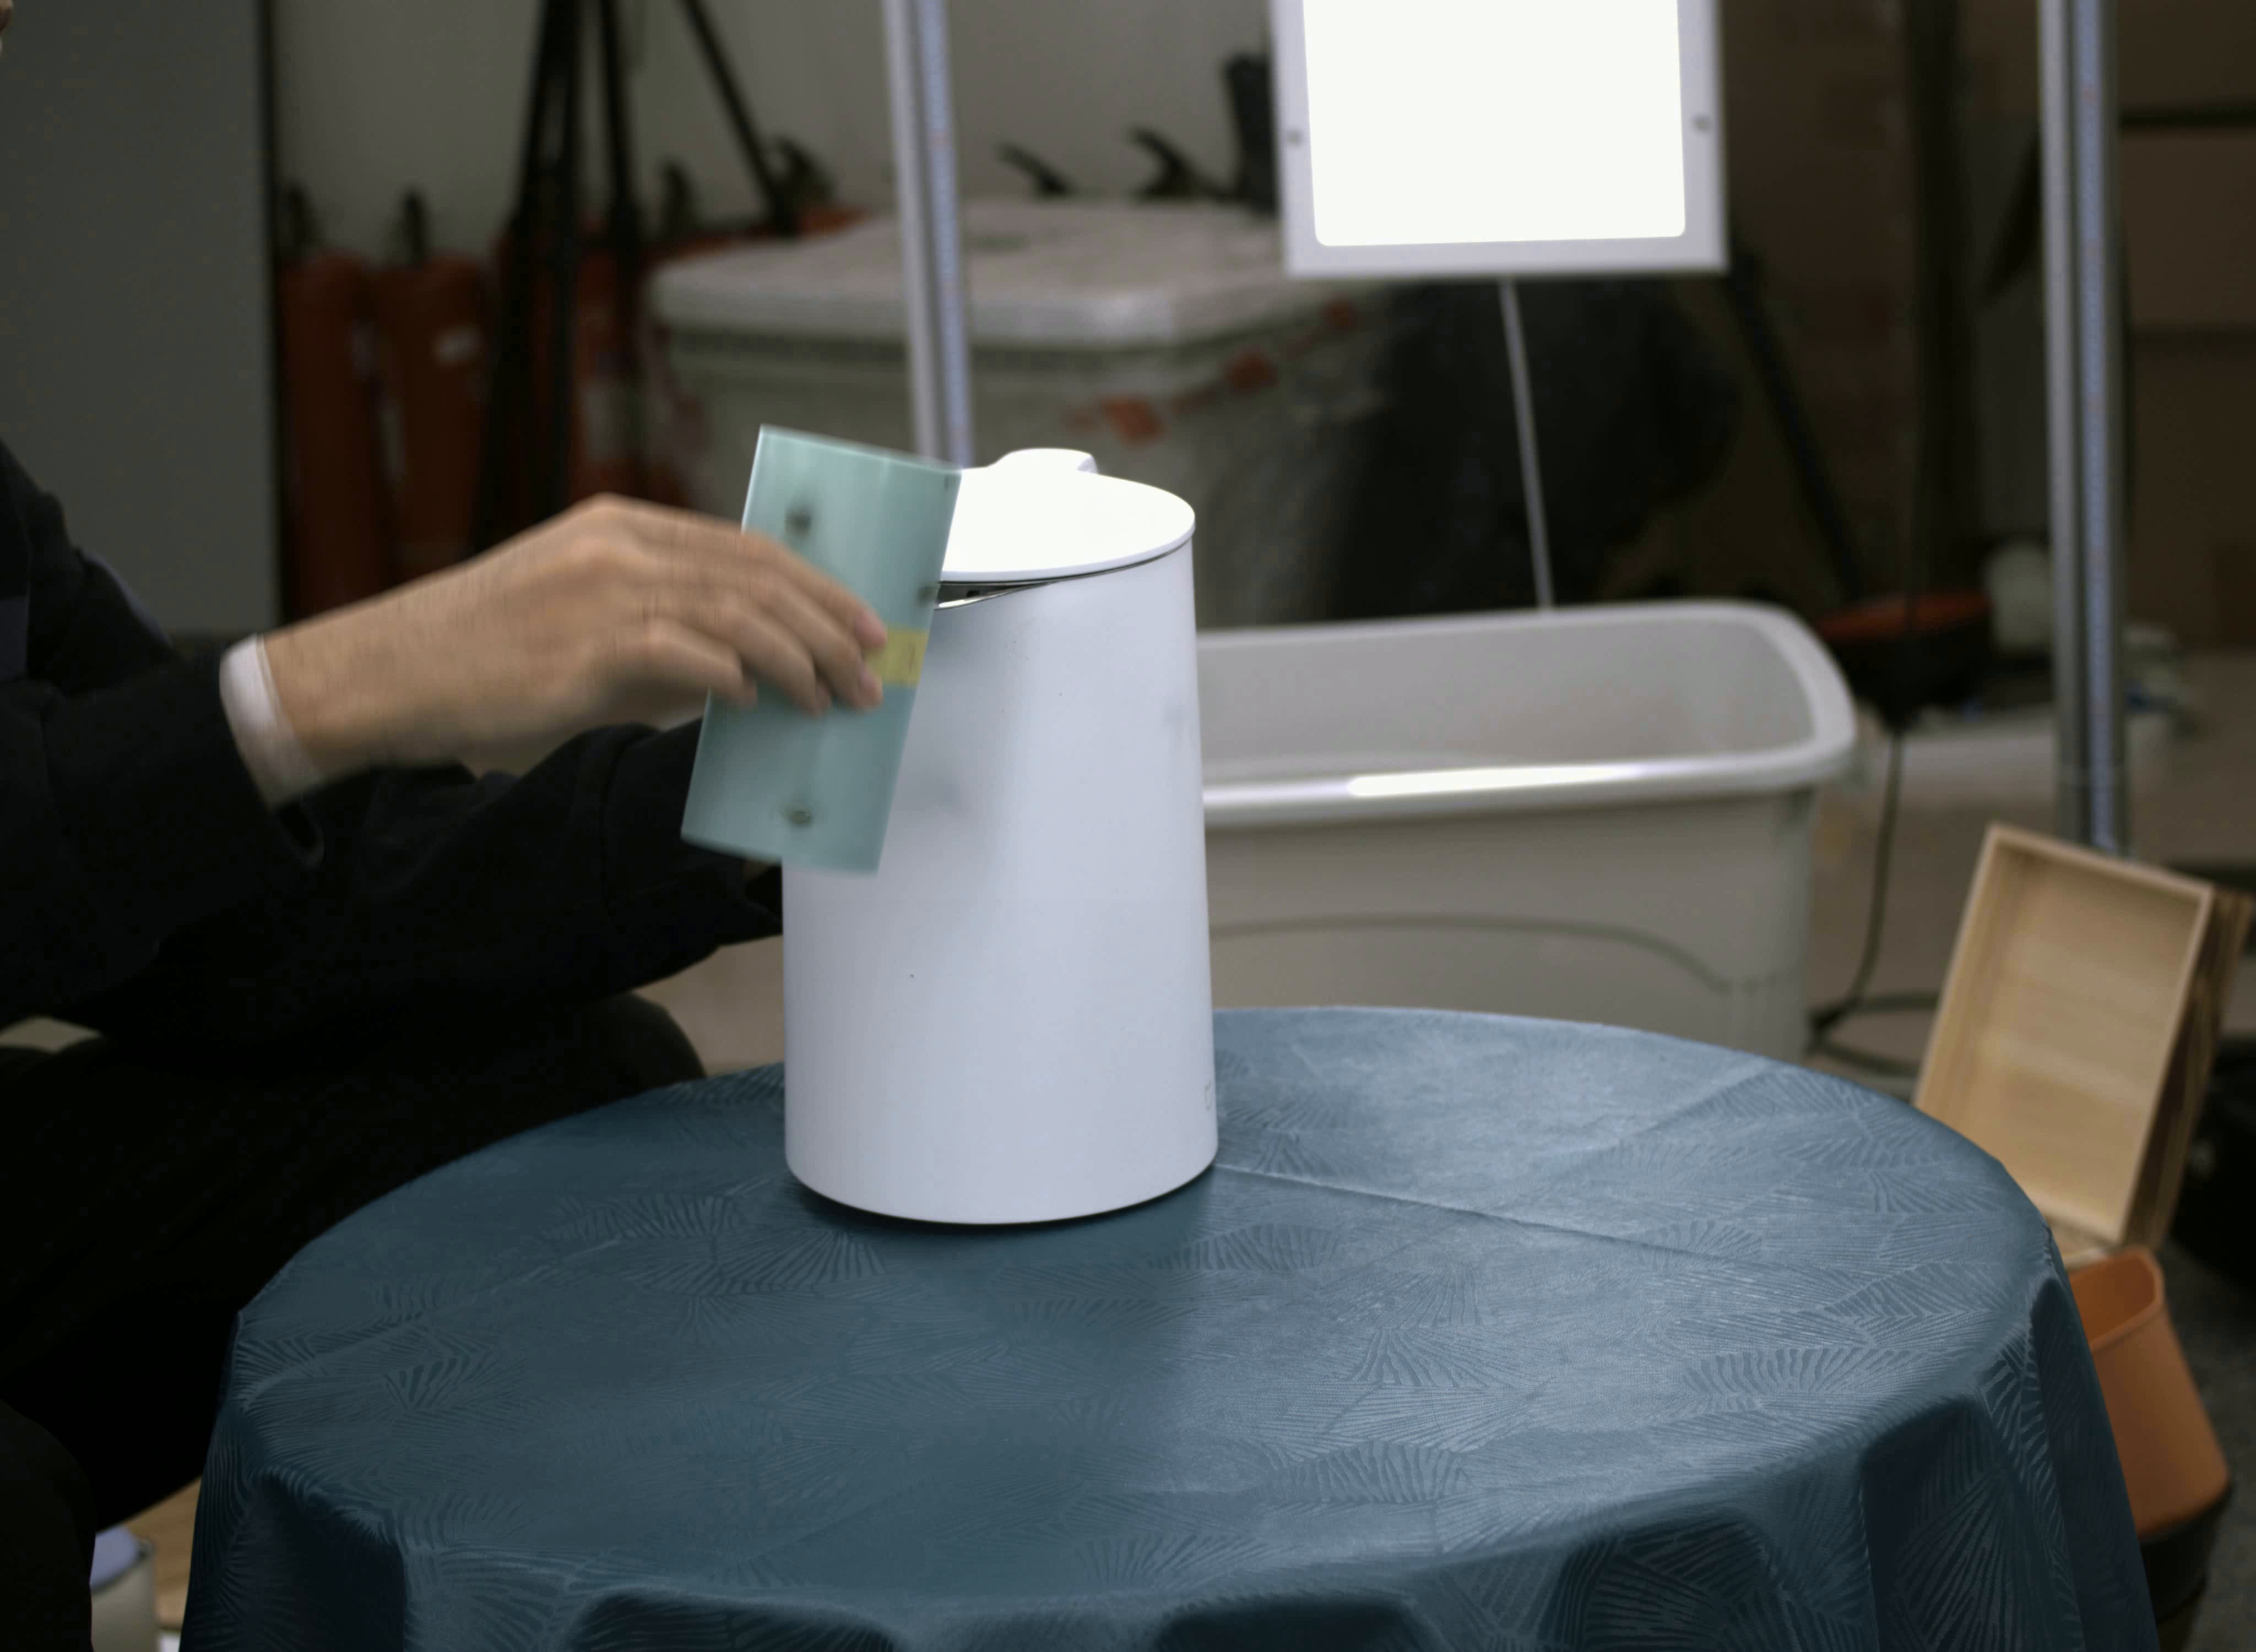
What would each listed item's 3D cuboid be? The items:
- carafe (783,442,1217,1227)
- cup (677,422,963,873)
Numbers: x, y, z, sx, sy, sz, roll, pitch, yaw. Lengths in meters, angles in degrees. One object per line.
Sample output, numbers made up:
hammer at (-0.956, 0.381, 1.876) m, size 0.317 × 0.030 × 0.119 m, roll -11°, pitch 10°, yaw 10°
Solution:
carafe at (-0.039, -0.004, 1.922) m, size 0.153 × 0.241 × 0.210 m, roll 3°, pitch 18°, yaw 13°
cup at (-0.098, -0.057, 1.729) m, size 0.066 × 0.133 × 0.067 m, roll 12°, pitch 2°, yaw -2°
